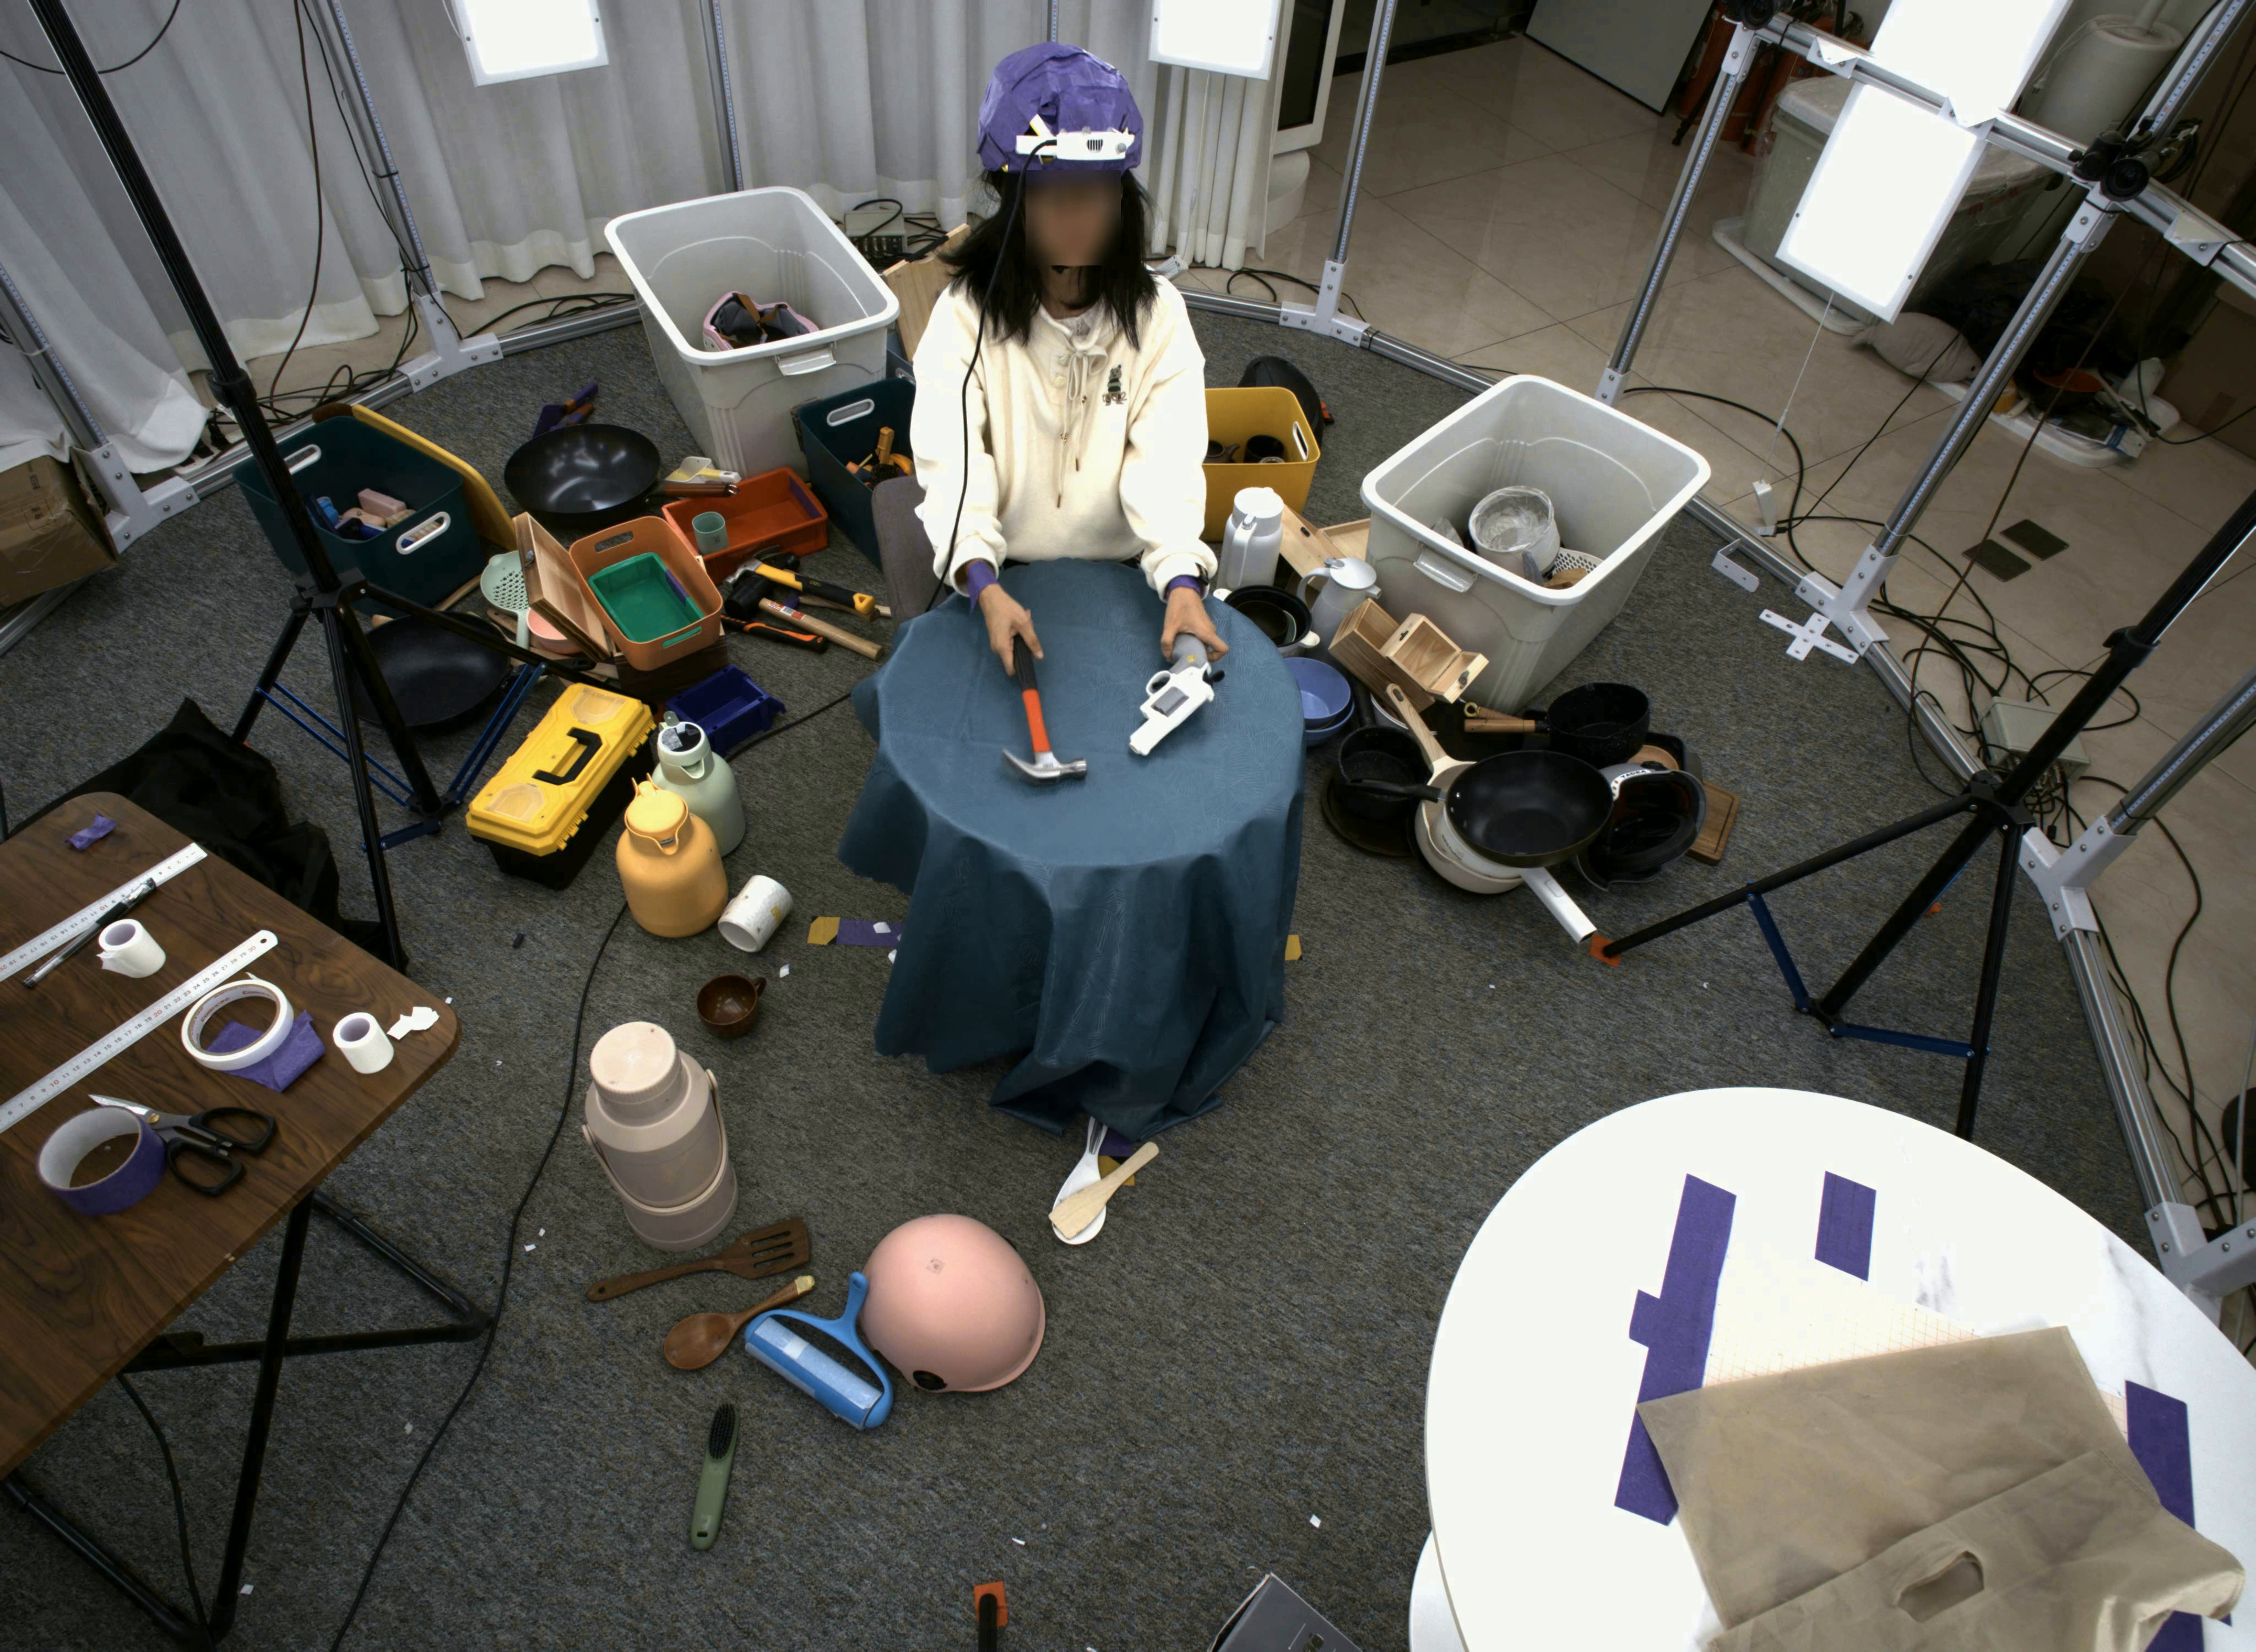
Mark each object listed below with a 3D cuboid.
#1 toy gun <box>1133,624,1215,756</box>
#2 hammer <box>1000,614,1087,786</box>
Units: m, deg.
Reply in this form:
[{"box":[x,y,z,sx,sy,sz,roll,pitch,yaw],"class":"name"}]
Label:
[{"box":[0.053,-0.194,1.805,0.210,0.038,0.144,-45,47,-15],"class":"toy gun"},{"box":[-0.135,-0.178,1.766,0.110,0.026,0.283,-11,60,-4],"class":"hammer"}]
